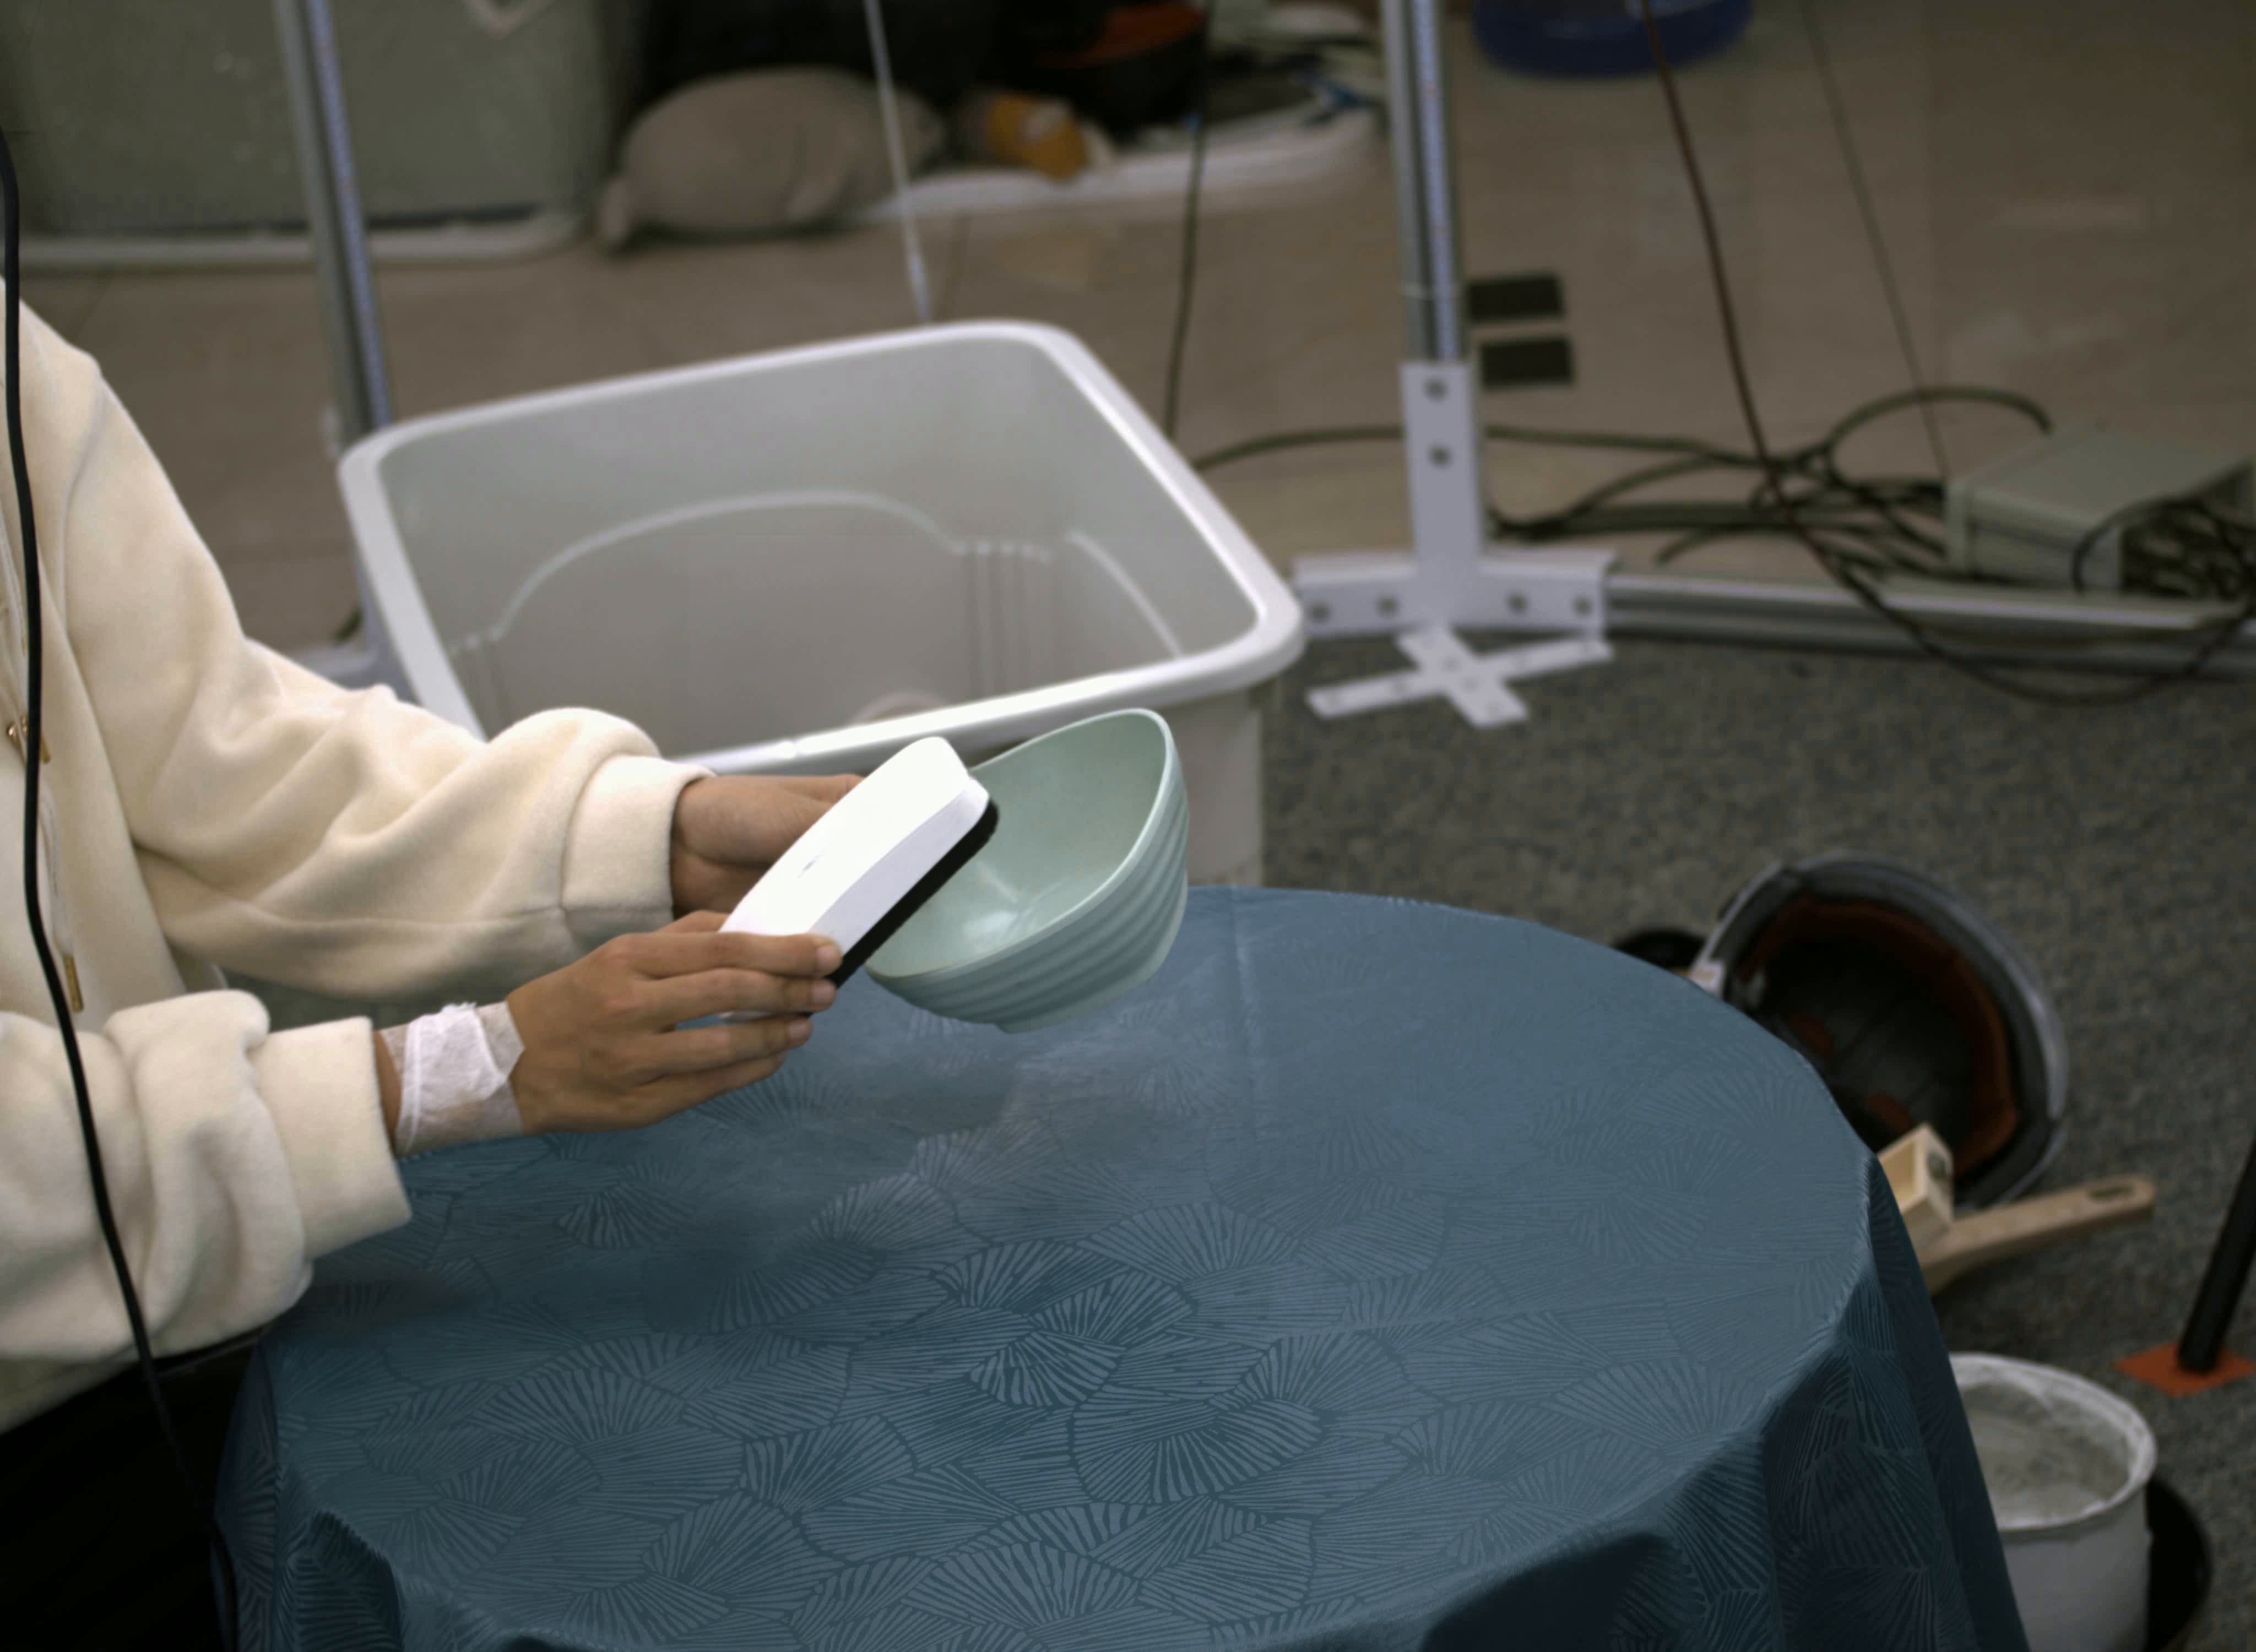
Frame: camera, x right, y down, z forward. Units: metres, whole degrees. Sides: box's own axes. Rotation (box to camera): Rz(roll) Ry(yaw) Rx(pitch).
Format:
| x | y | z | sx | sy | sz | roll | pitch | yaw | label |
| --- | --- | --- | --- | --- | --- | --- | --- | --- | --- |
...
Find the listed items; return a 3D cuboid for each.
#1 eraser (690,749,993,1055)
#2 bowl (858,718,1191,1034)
| x | y | z | sx | sy | sz | roll | pitch | yaw | label |
| --- | --- | --- | --- | --- | --- | --- | --- | --- | --- |
| -0.109 | 0.026 | 2.112 | 0.131 | 0.035 | 0.062 | -44 | 27 | 3 | eraser |
| -0.029 | 0.027 | 2.166 | 0.152 | 0.059 | 0.149 | -26 | 27 | 15 | bowl |
